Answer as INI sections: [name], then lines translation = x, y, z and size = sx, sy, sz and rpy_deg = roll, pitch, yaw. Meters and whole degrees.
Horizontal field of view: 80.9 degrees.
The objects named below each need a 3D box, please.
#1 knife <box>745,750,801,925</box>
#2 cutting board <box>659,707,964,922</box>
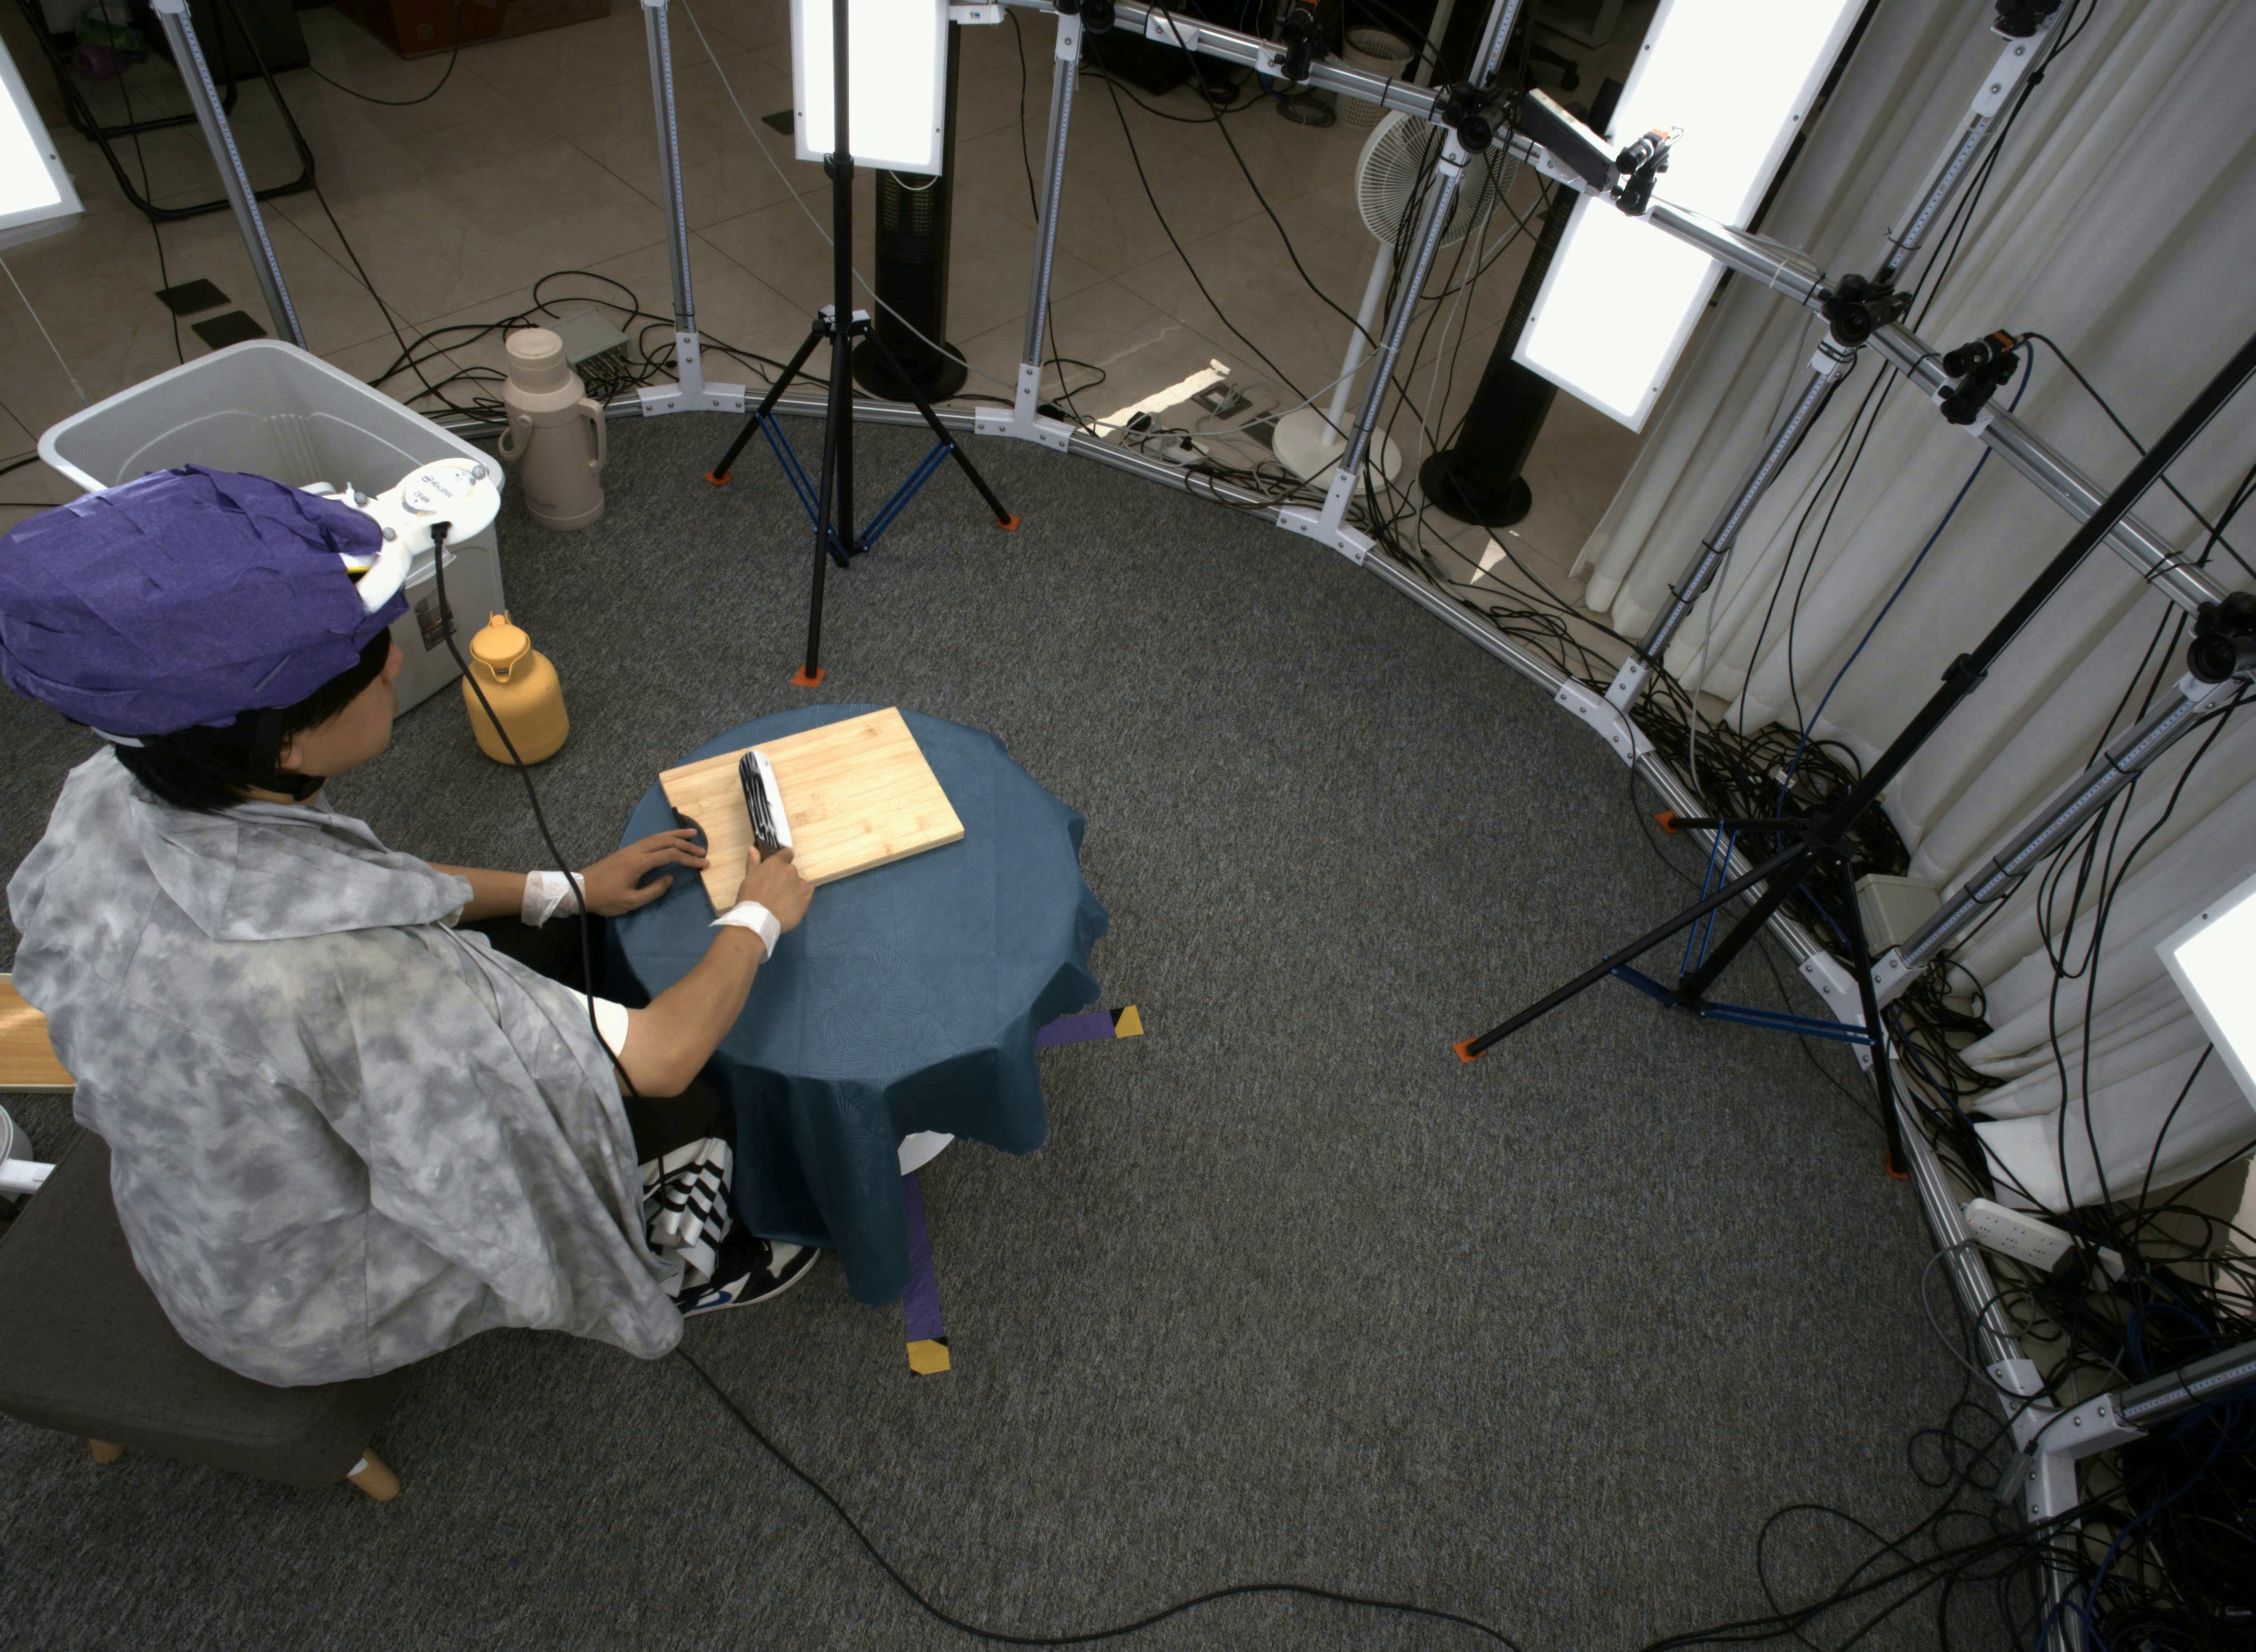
[knife]
translation = -0.443, 0.007, 1.633
size = 0.070, 0.024, 0.292
rpy_deg = 31, 30, -52
[cutting board]
translation = -0.421, -0.025, 1.735
size = 0.350, 0.024, 0.244
rpy_deg = -20, 61, -26
